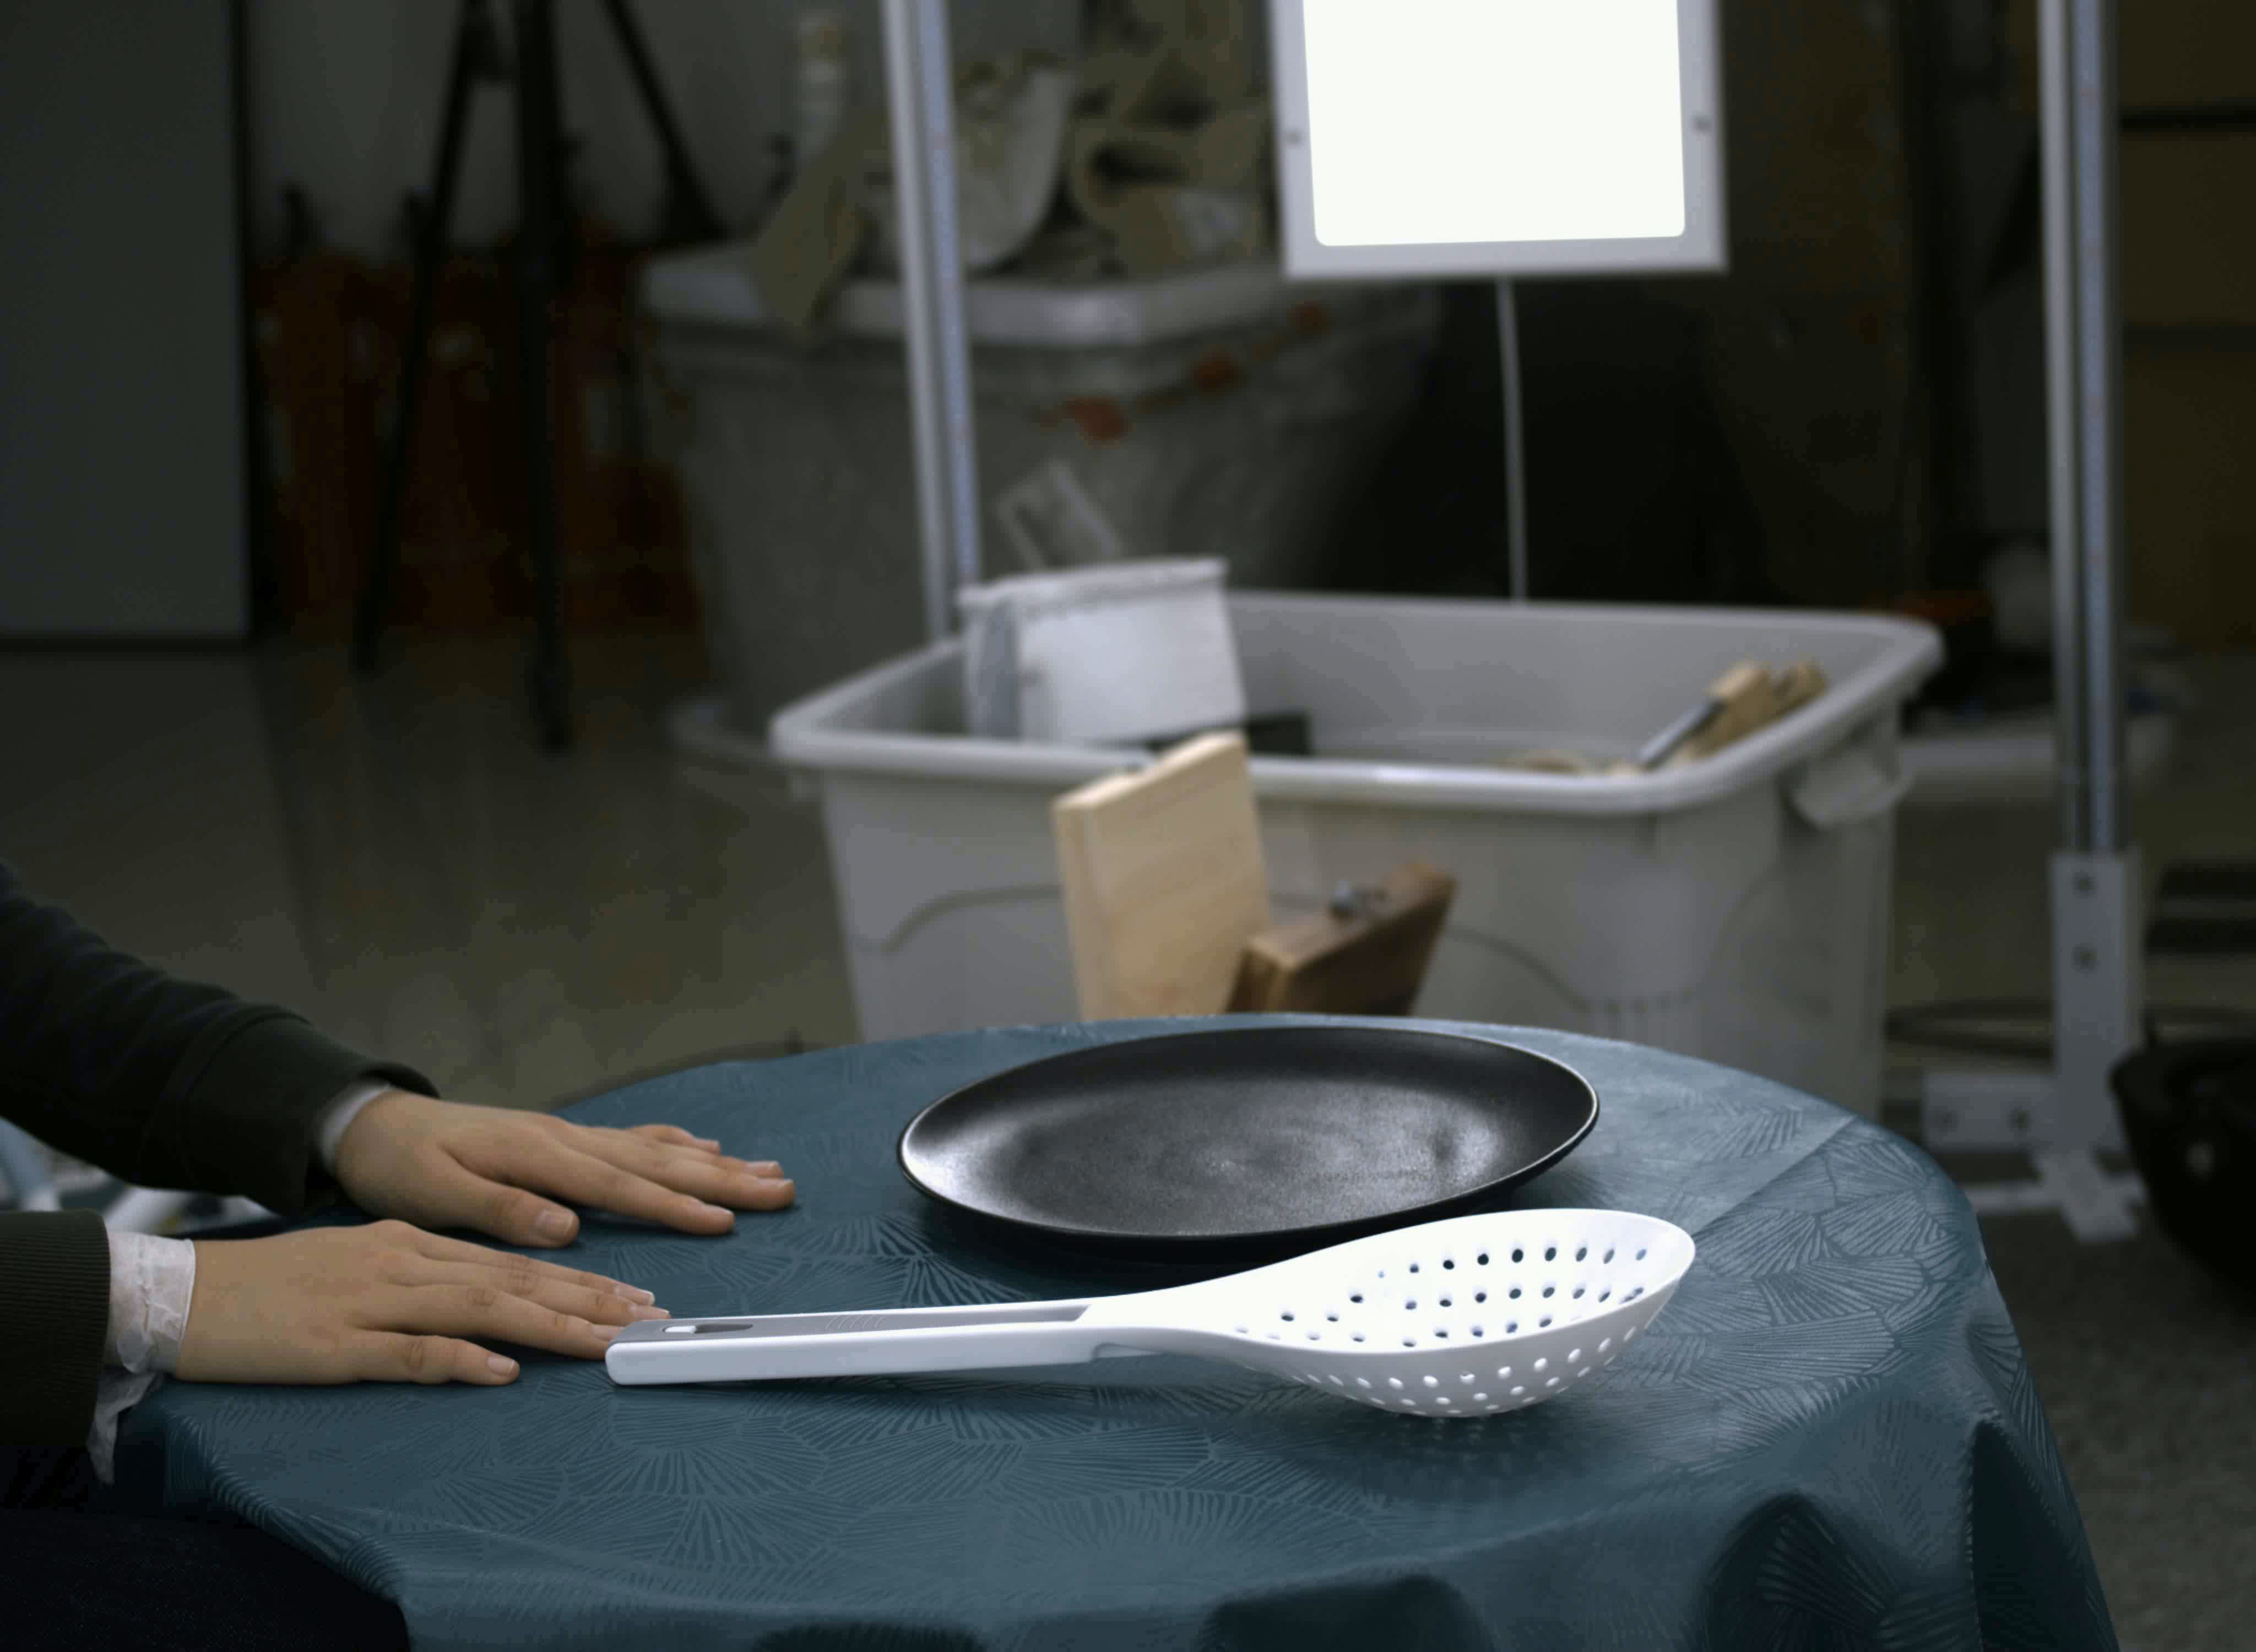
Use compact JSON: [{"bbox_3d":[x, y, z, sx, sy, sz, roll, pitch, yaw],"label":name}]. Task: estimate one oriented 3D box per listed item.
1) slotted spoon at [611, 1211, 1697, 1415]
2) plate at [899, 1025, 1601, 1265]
[{"bbox_3d":[0.003,0.153,1.693,0.354,0.046,0.134,-1,12,20],"label":"slotted spoon"},{"bbox_3d":[0.042,0.112,1.893,0.244,0.023,0.244,-5,14,0],"label":"plate"}]
